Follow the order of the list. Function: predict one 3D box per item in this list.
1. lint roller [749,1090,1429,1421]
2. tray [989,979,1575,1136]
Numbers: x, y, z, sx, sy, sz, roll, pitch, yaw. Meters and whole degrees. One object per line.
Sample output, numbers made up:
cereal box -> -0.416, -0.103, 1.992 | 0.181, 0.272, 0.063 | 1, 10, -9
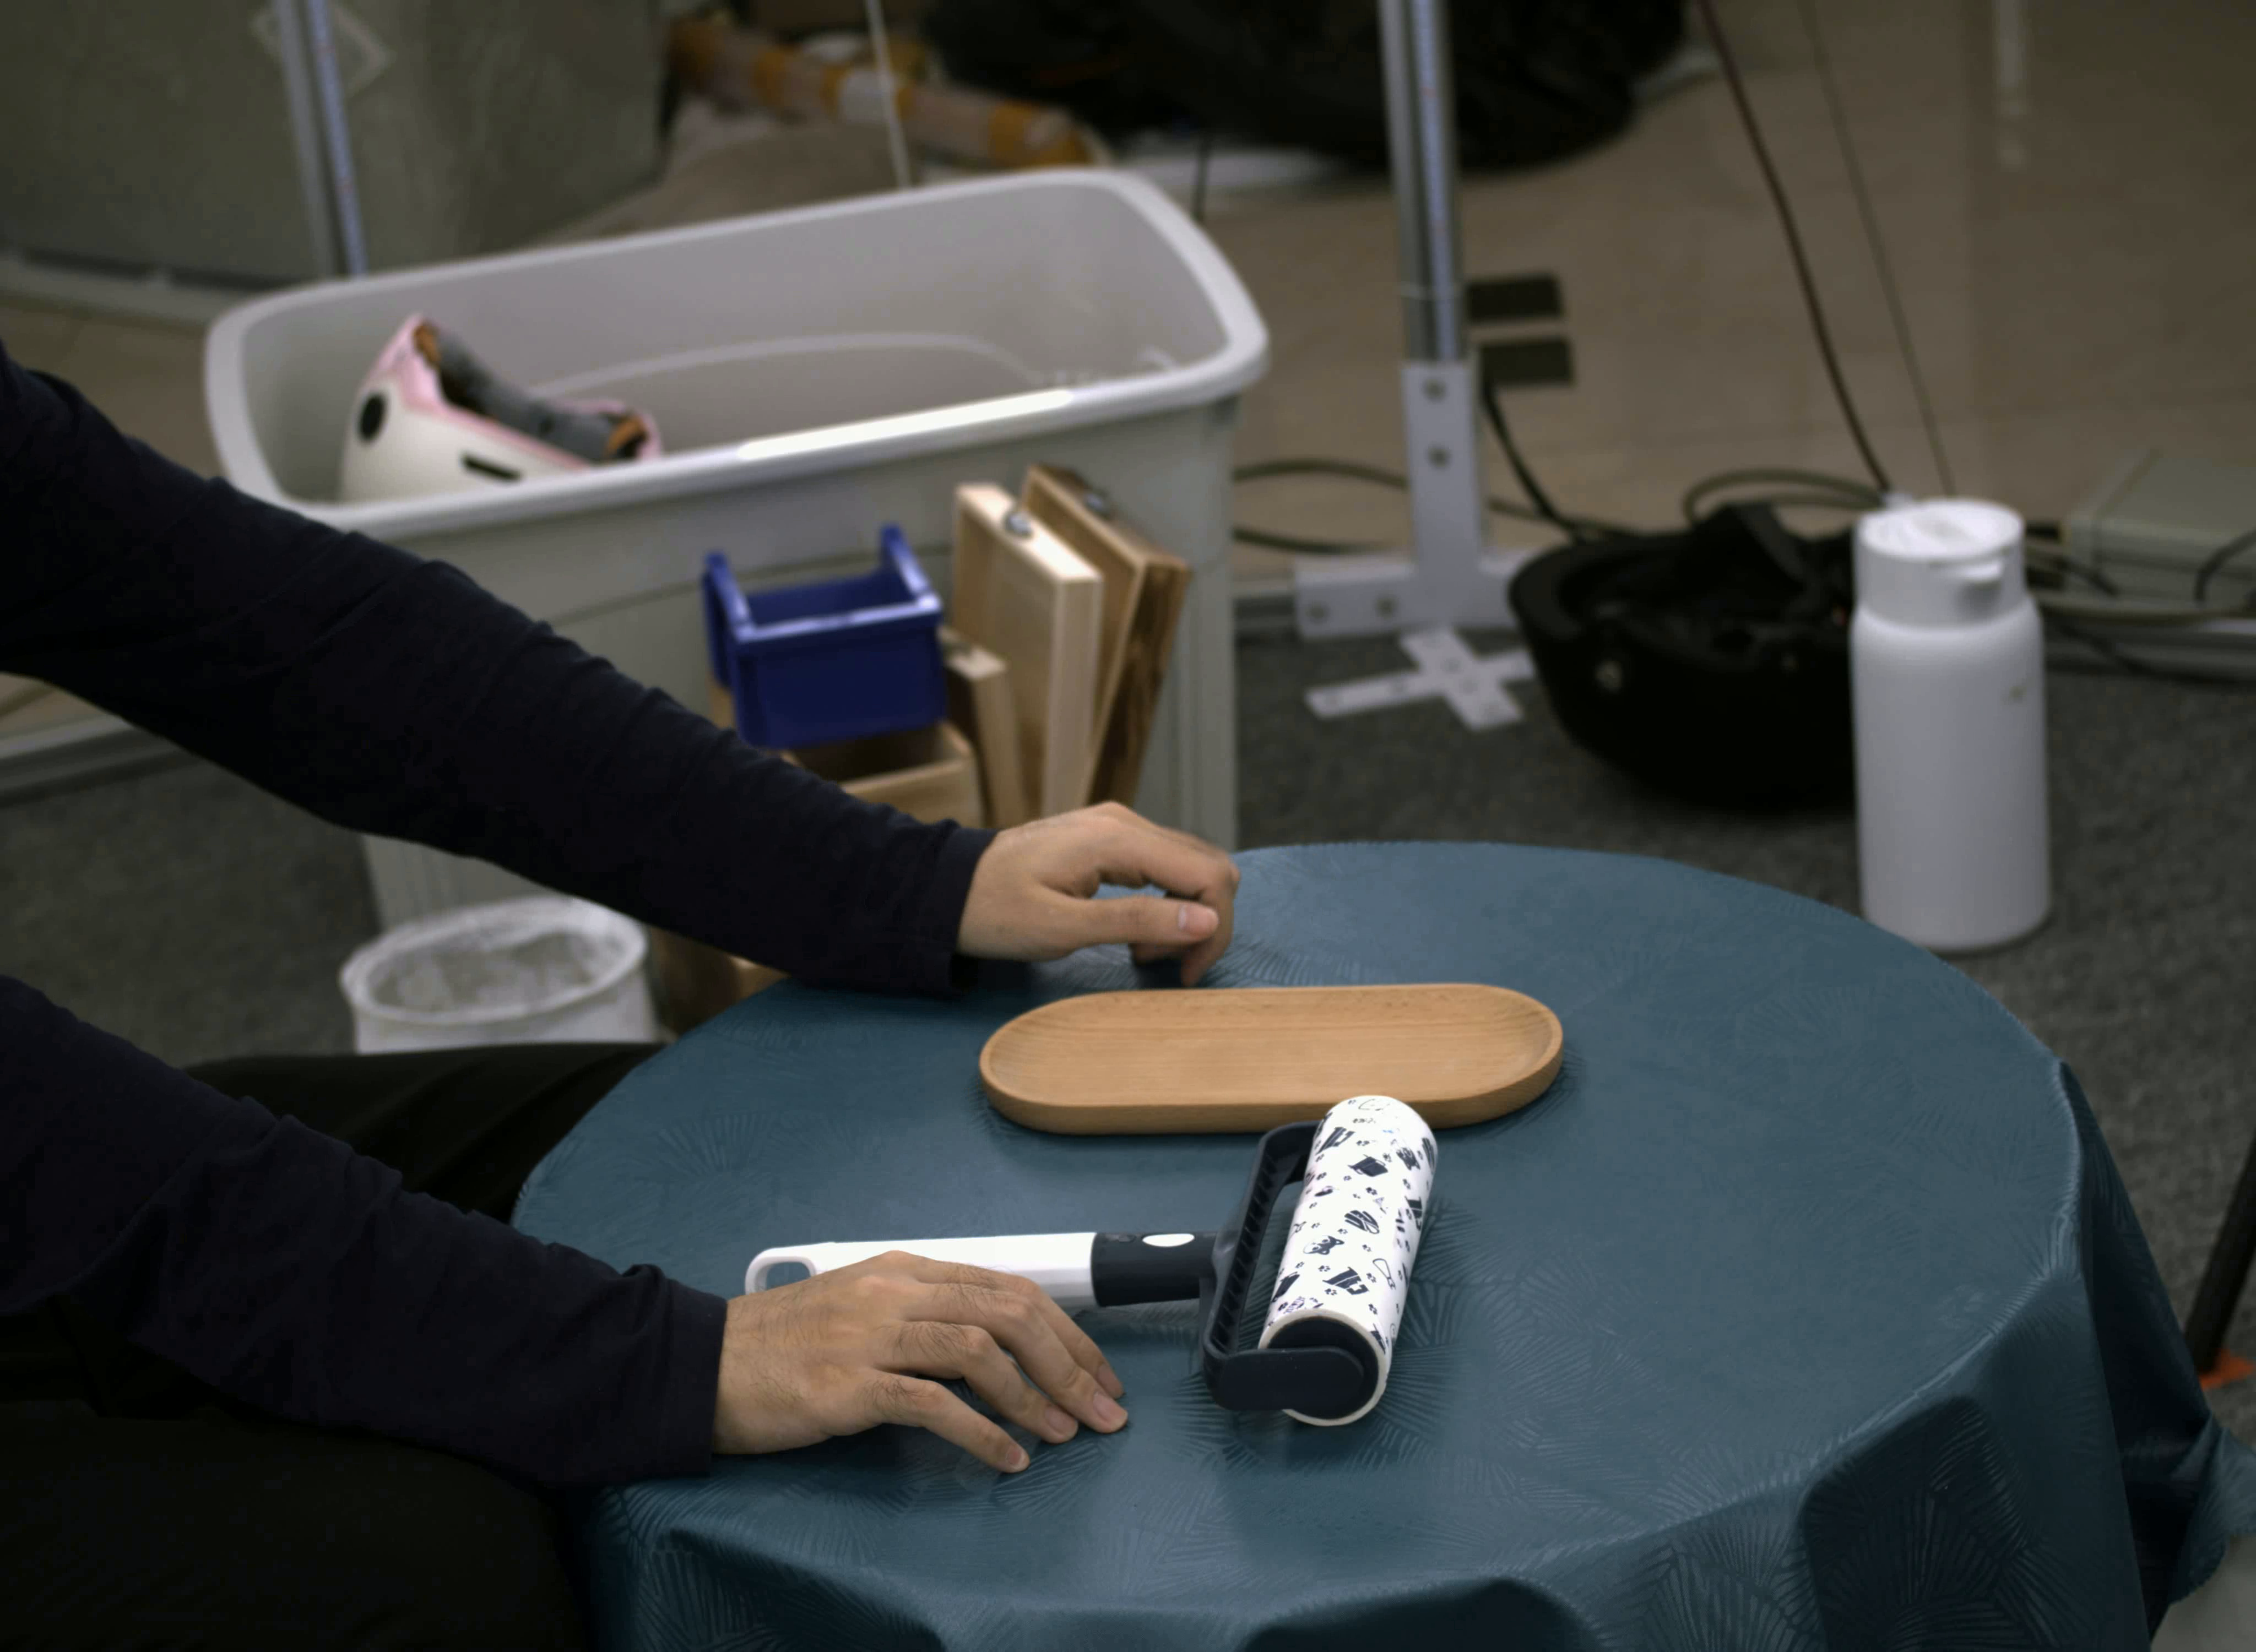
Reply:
lint roller -> -0.020, 0.162, 2.060 | 0.247, 0.051, 0.173 | -5, 25, 12
tray -> 0.060, 0.091, 2.221 | 0.231, 0.020, 0.100 | -1, 27, 10
